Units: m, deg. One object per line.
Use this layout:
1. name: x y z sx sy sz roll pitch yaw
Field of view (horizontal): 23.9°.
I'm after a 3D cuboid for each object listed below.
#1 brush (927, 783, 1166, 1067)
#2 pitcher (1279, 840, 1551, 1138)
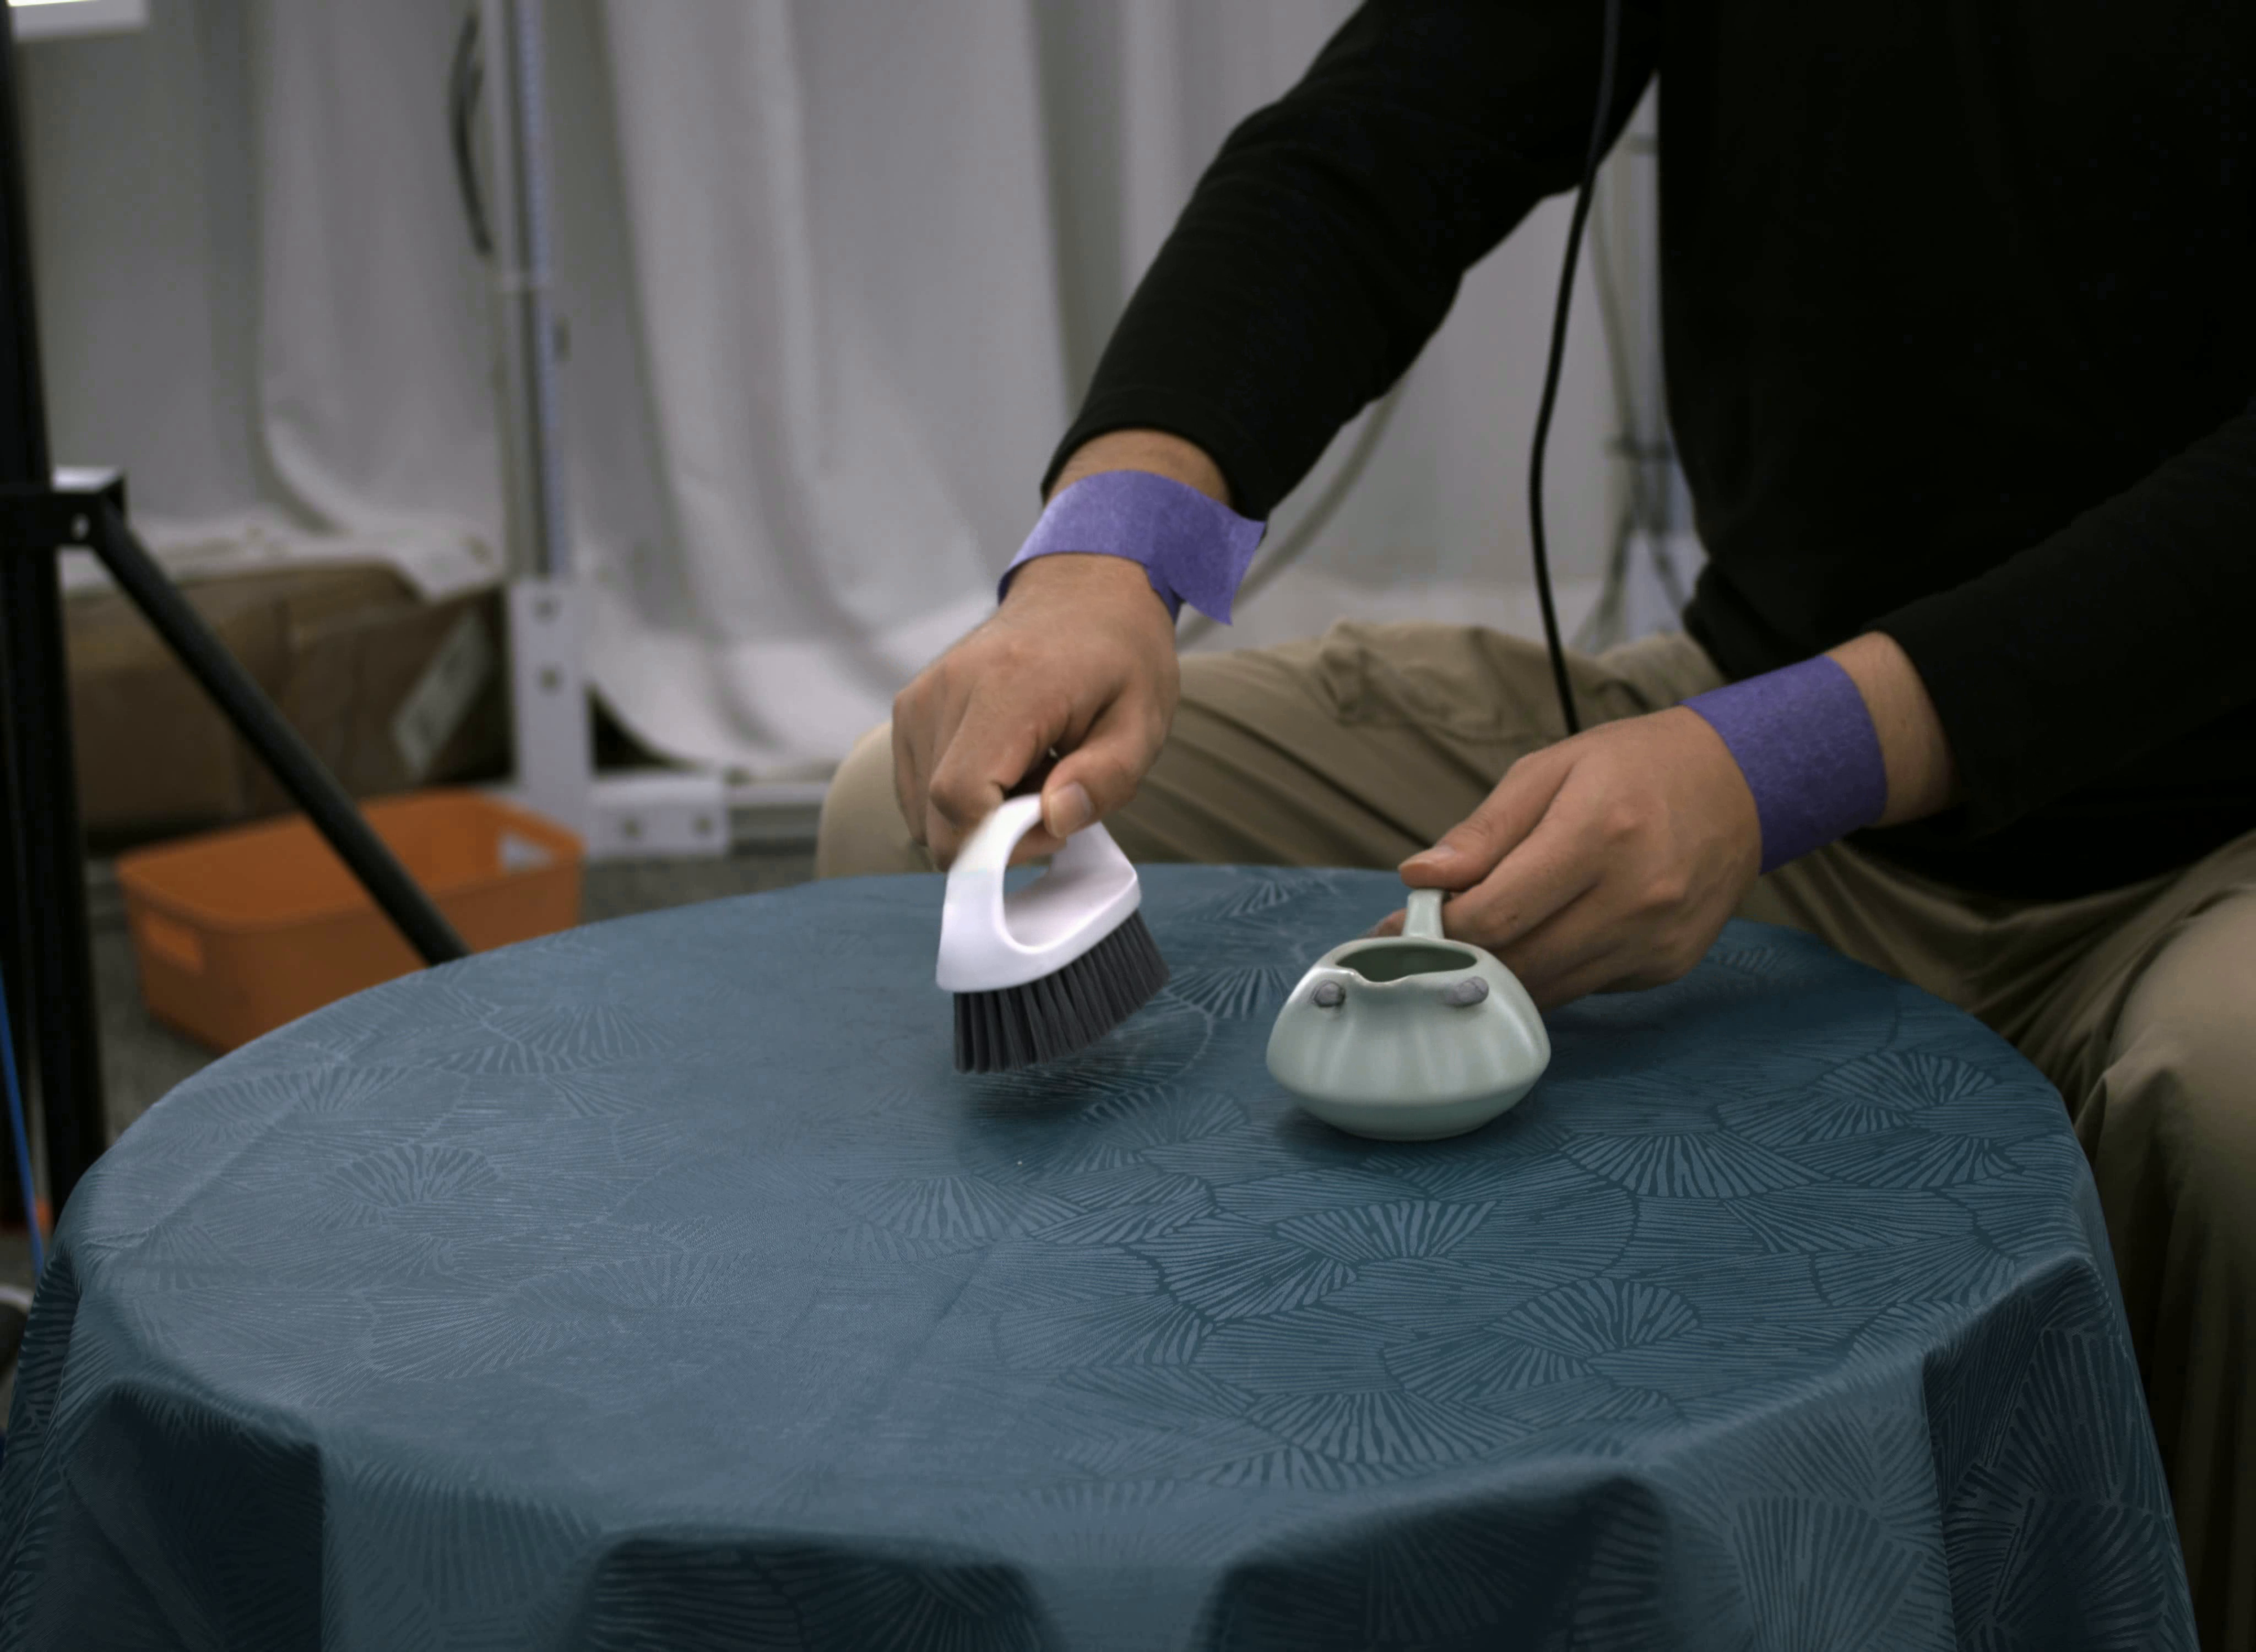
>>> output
1. brush: -0.029 0.026 1.654 0.051 0.072 0.098 -7 14 30
2. pitcher: 0.090 0.052 1.625 0.087 0.060 0.107 -6 29 33
